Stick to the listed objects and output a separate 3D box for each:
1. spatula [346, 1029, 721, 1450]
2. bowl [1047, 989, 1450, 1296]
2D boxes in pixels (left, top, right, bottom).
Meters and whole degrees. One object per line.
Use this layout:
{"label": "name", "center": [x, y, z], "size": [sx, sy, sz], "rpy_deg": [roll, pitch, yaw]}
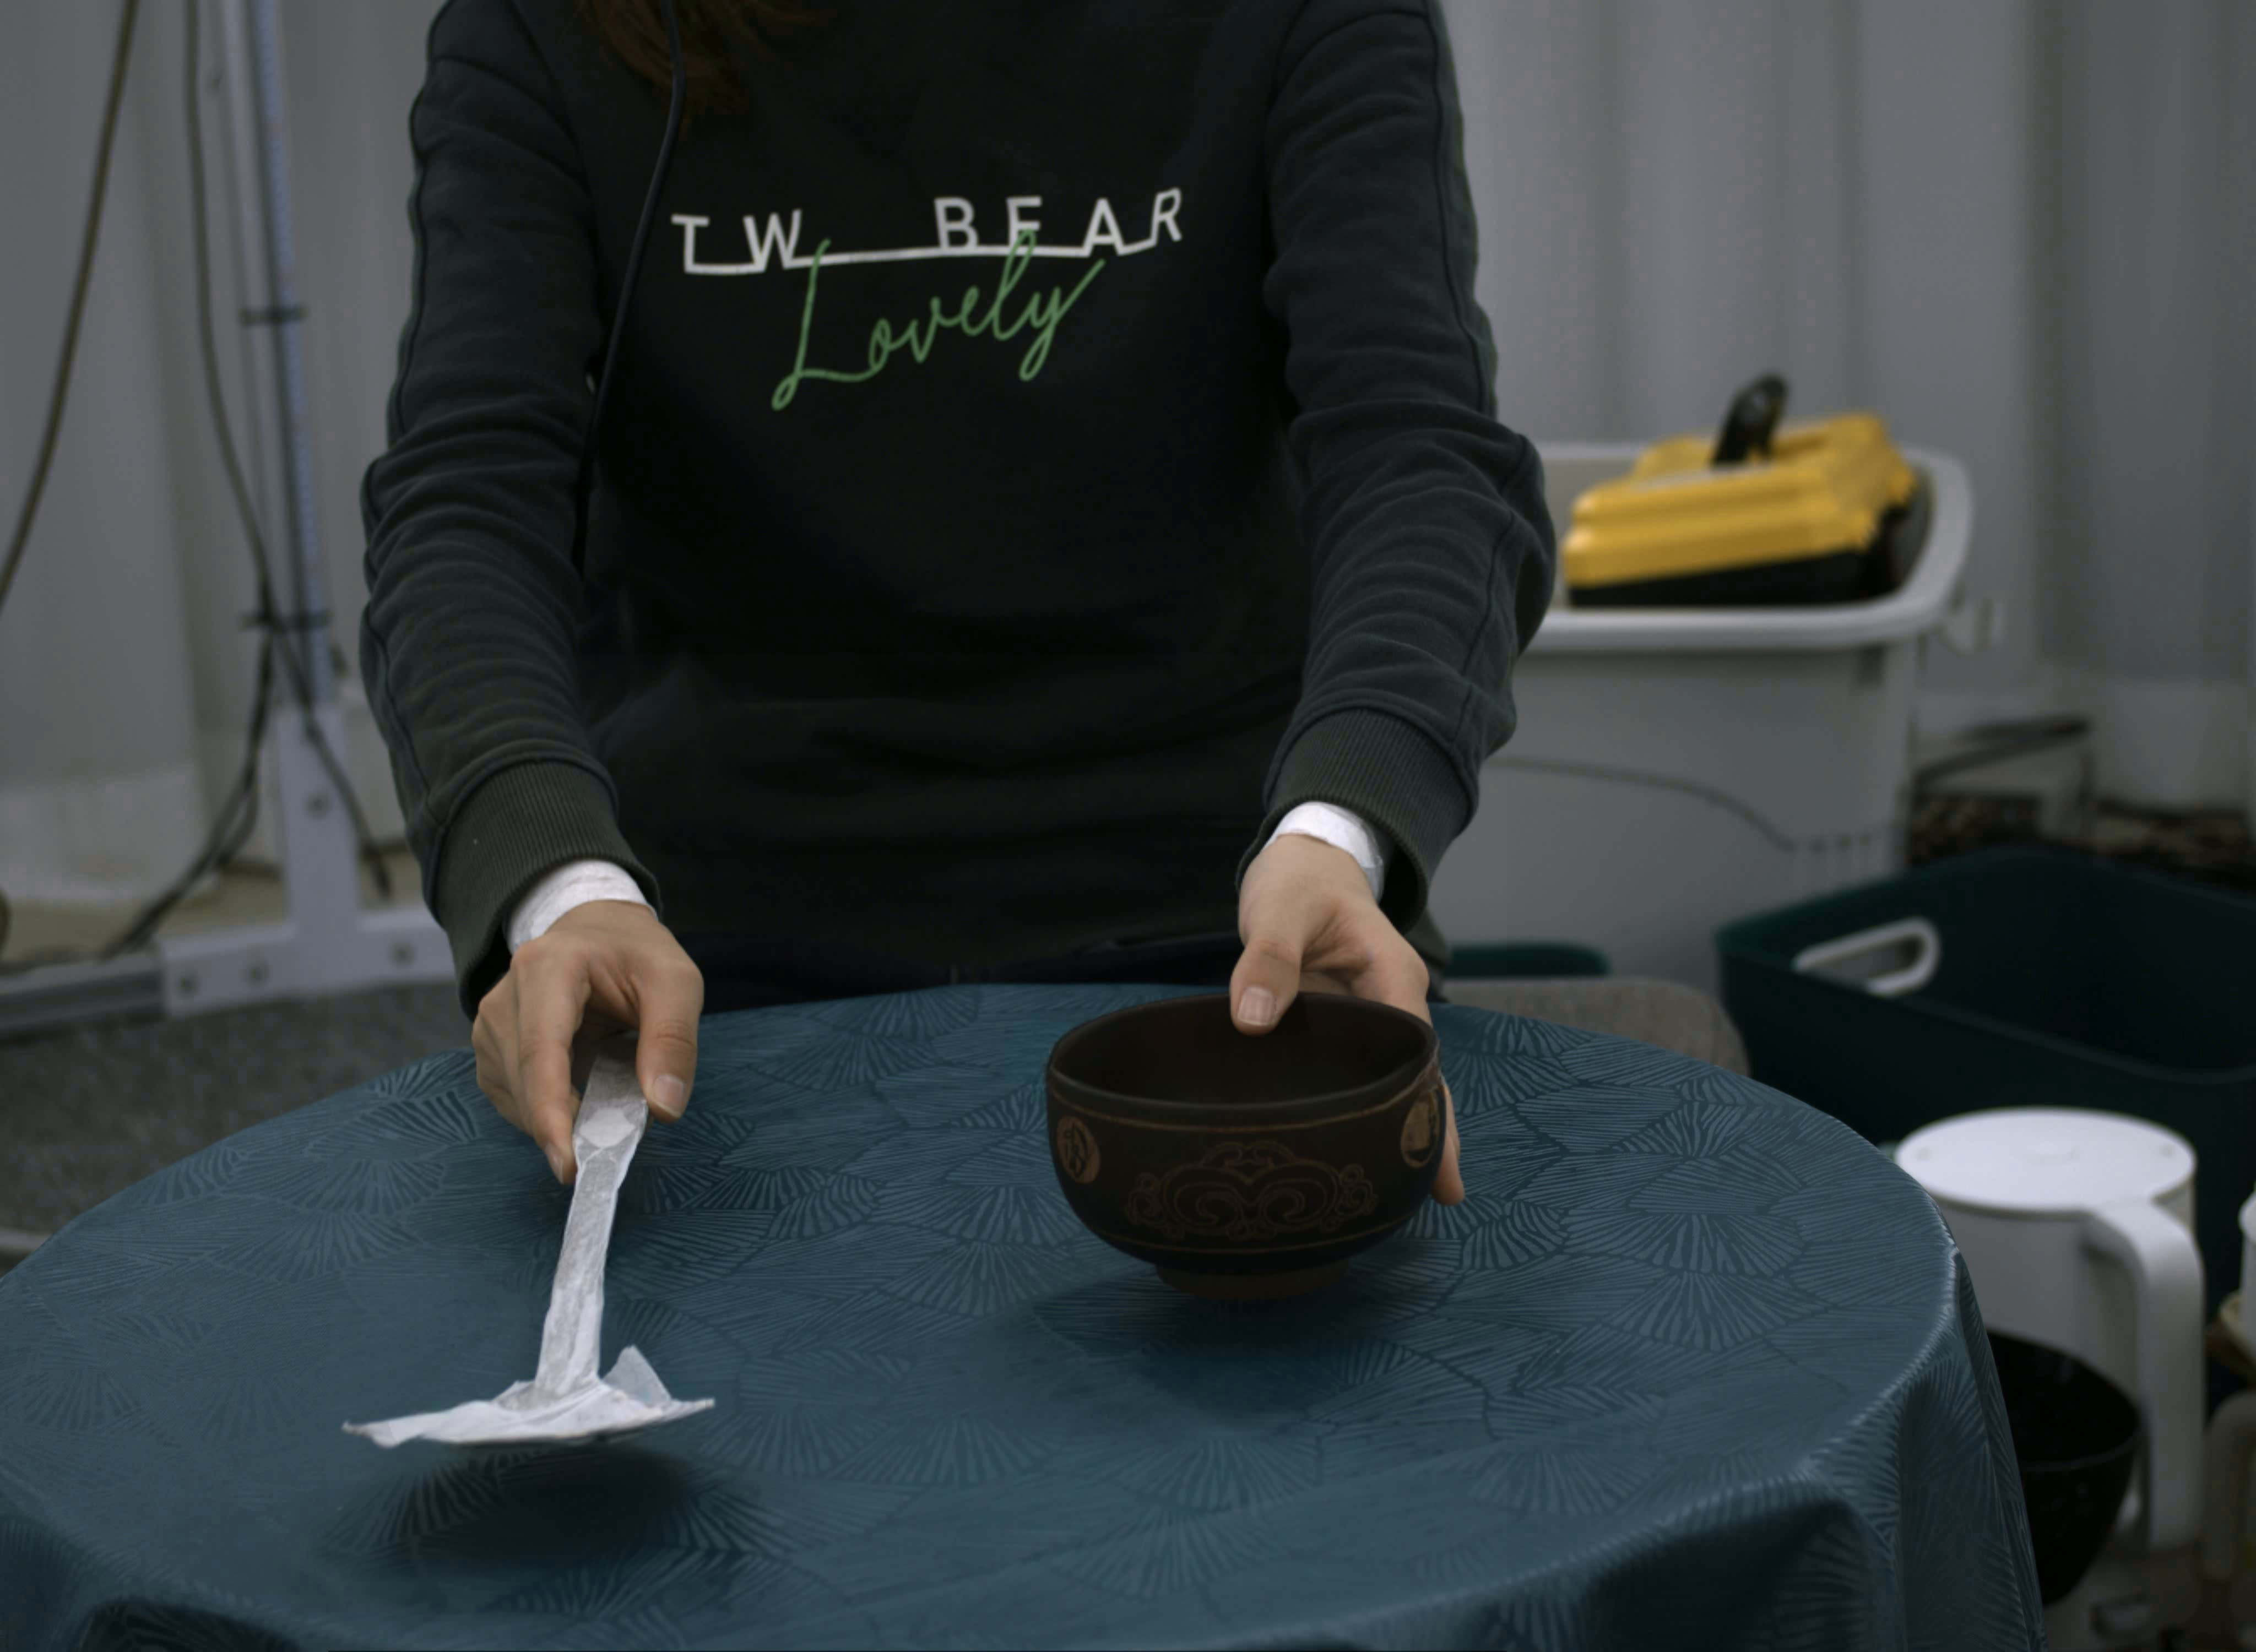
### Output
{"label": "spatula", "center": [-0.154, 0.113, 1.600], "size": [0.098, 0.044, 0.368], "rpy_deg": [-5, 20, 3]}
{"label": "bowl", "center": [0.035, 0.096, 1.596], "size": [0.117, 0.069, 0.119], "rpy_deg": [-1, 13, 0]}
